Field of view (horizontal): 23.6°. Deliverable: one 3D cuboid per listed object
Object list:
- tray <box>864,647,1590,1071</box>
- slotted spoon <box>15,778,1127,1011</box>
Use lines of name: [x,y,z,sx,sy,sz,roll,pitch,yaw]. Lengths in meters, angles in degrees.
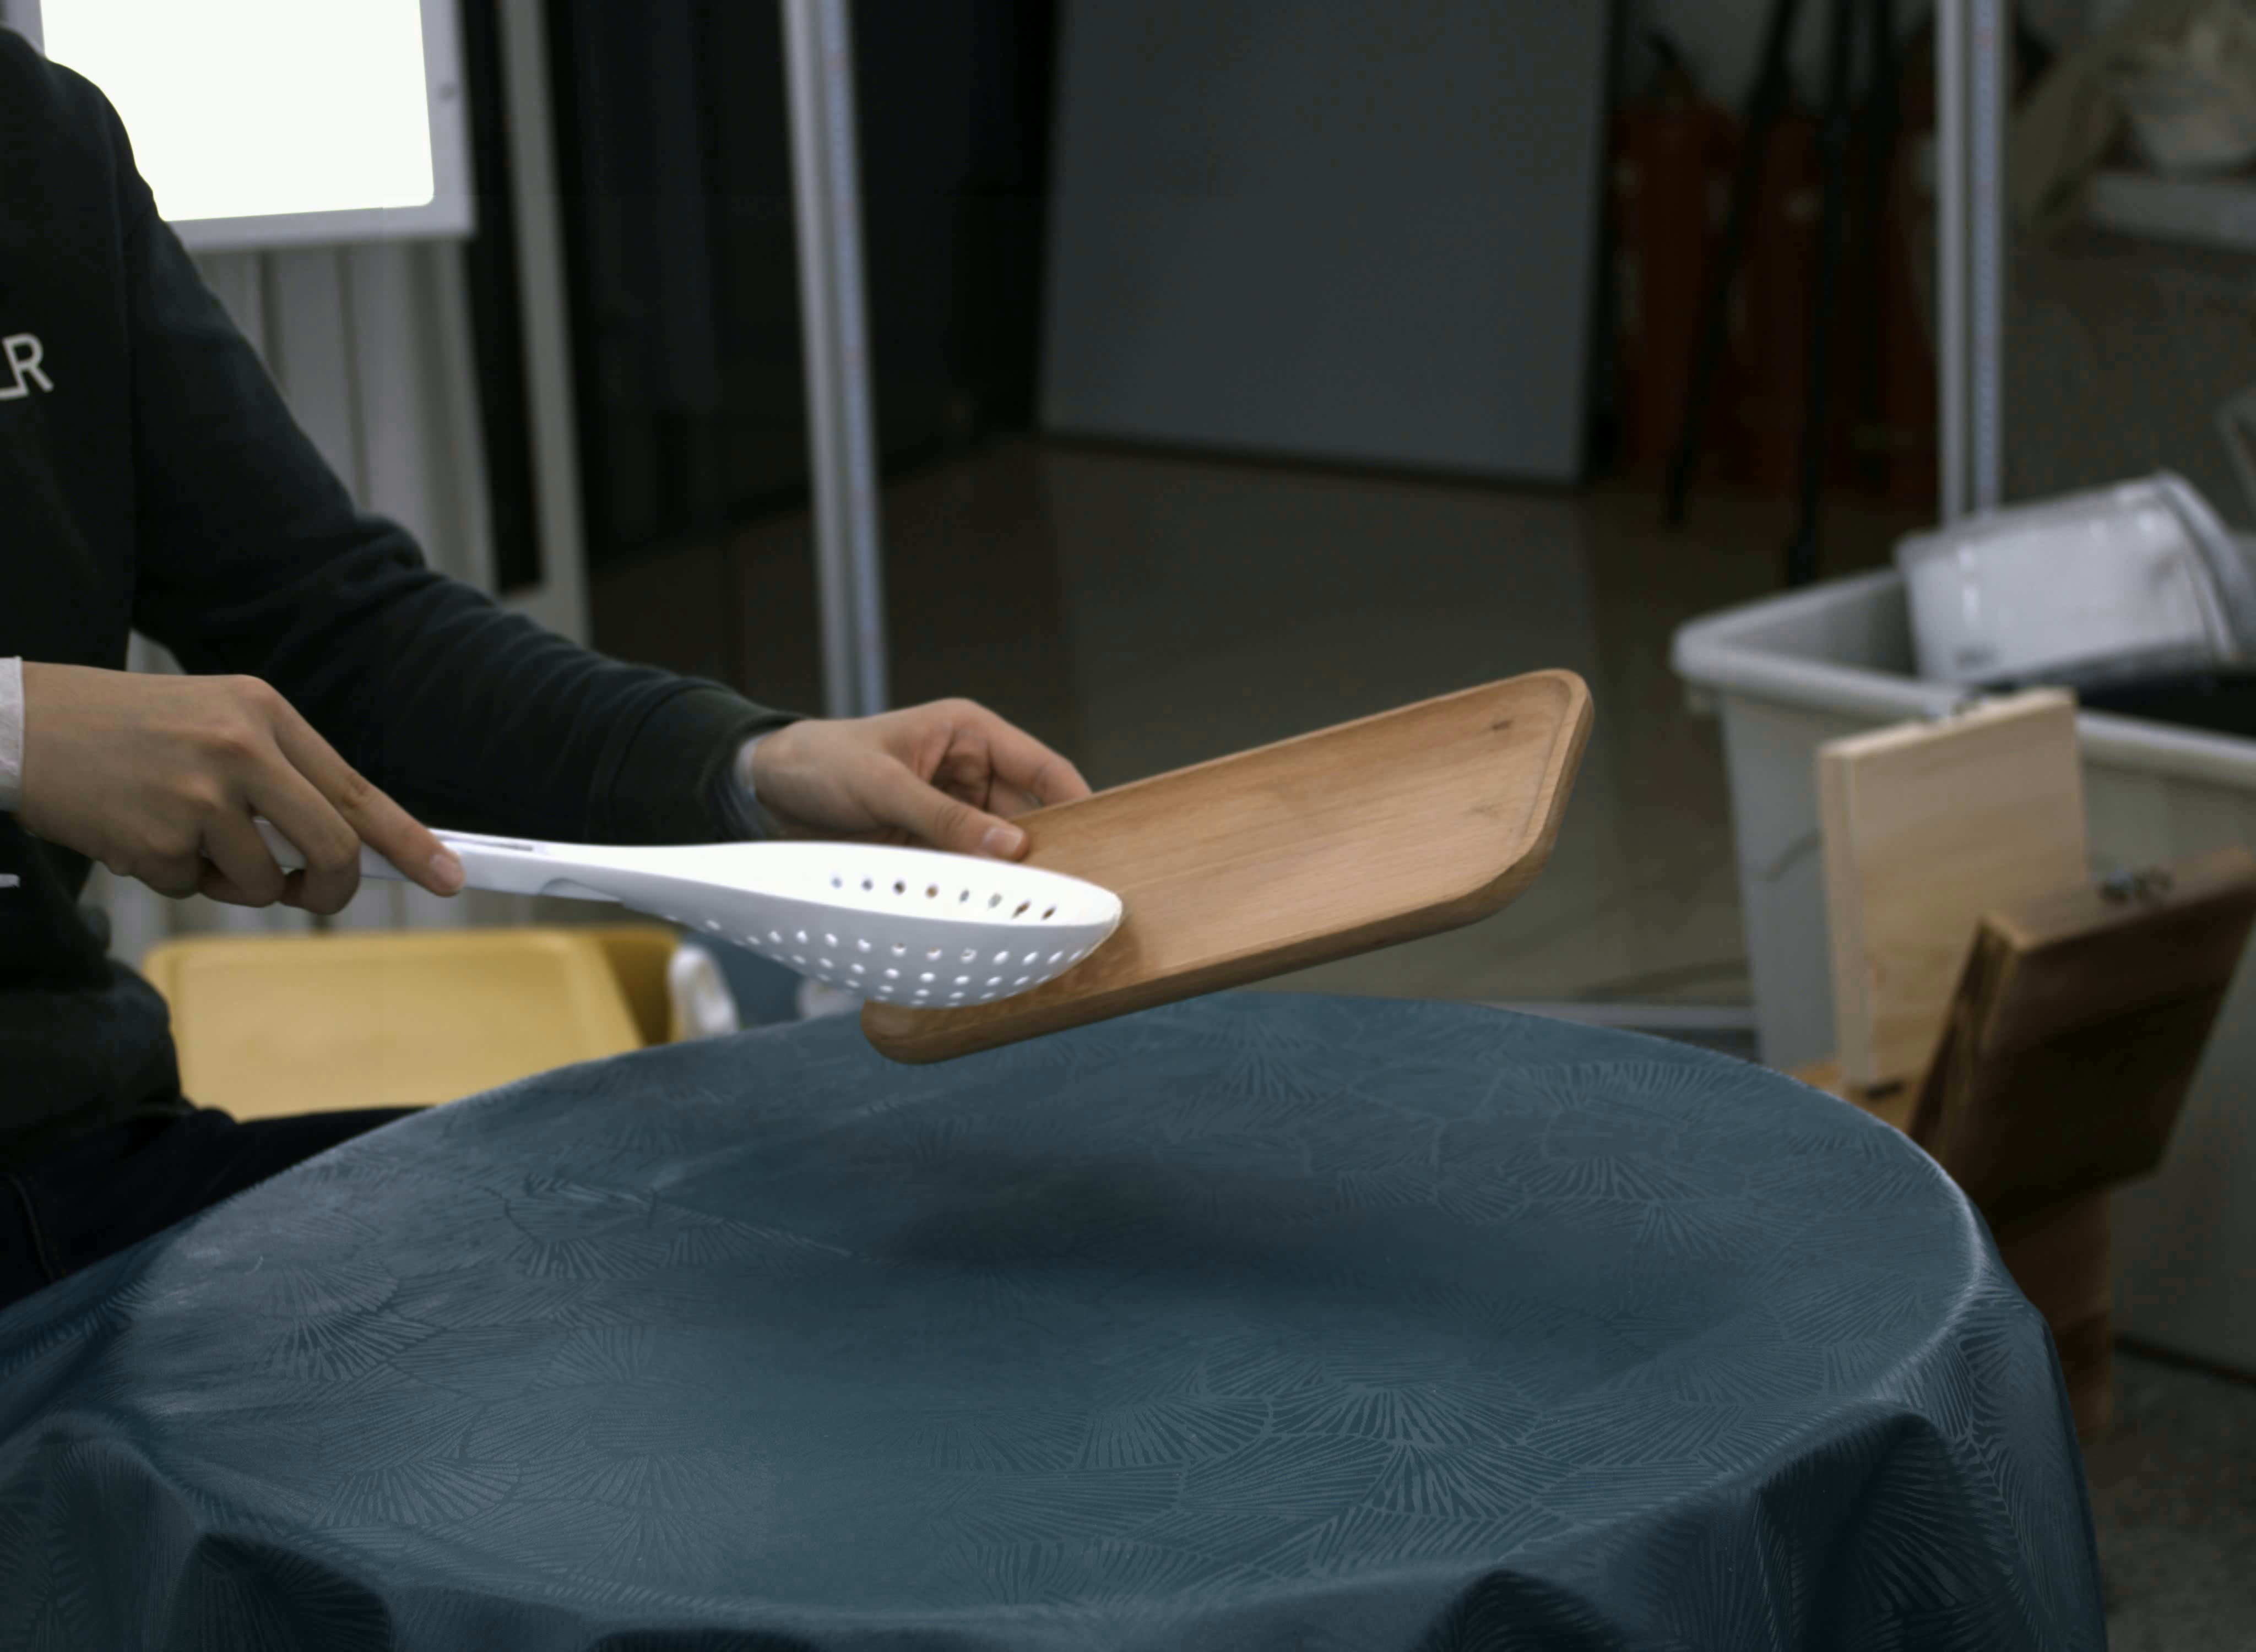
tray: [0.032,0.013,1.727,0.251,0.023,0.130,-17,27,29]
slotted spoon: [-0.173,0.014,1.698,0.344,0.046,0.136,11,4,-7]
